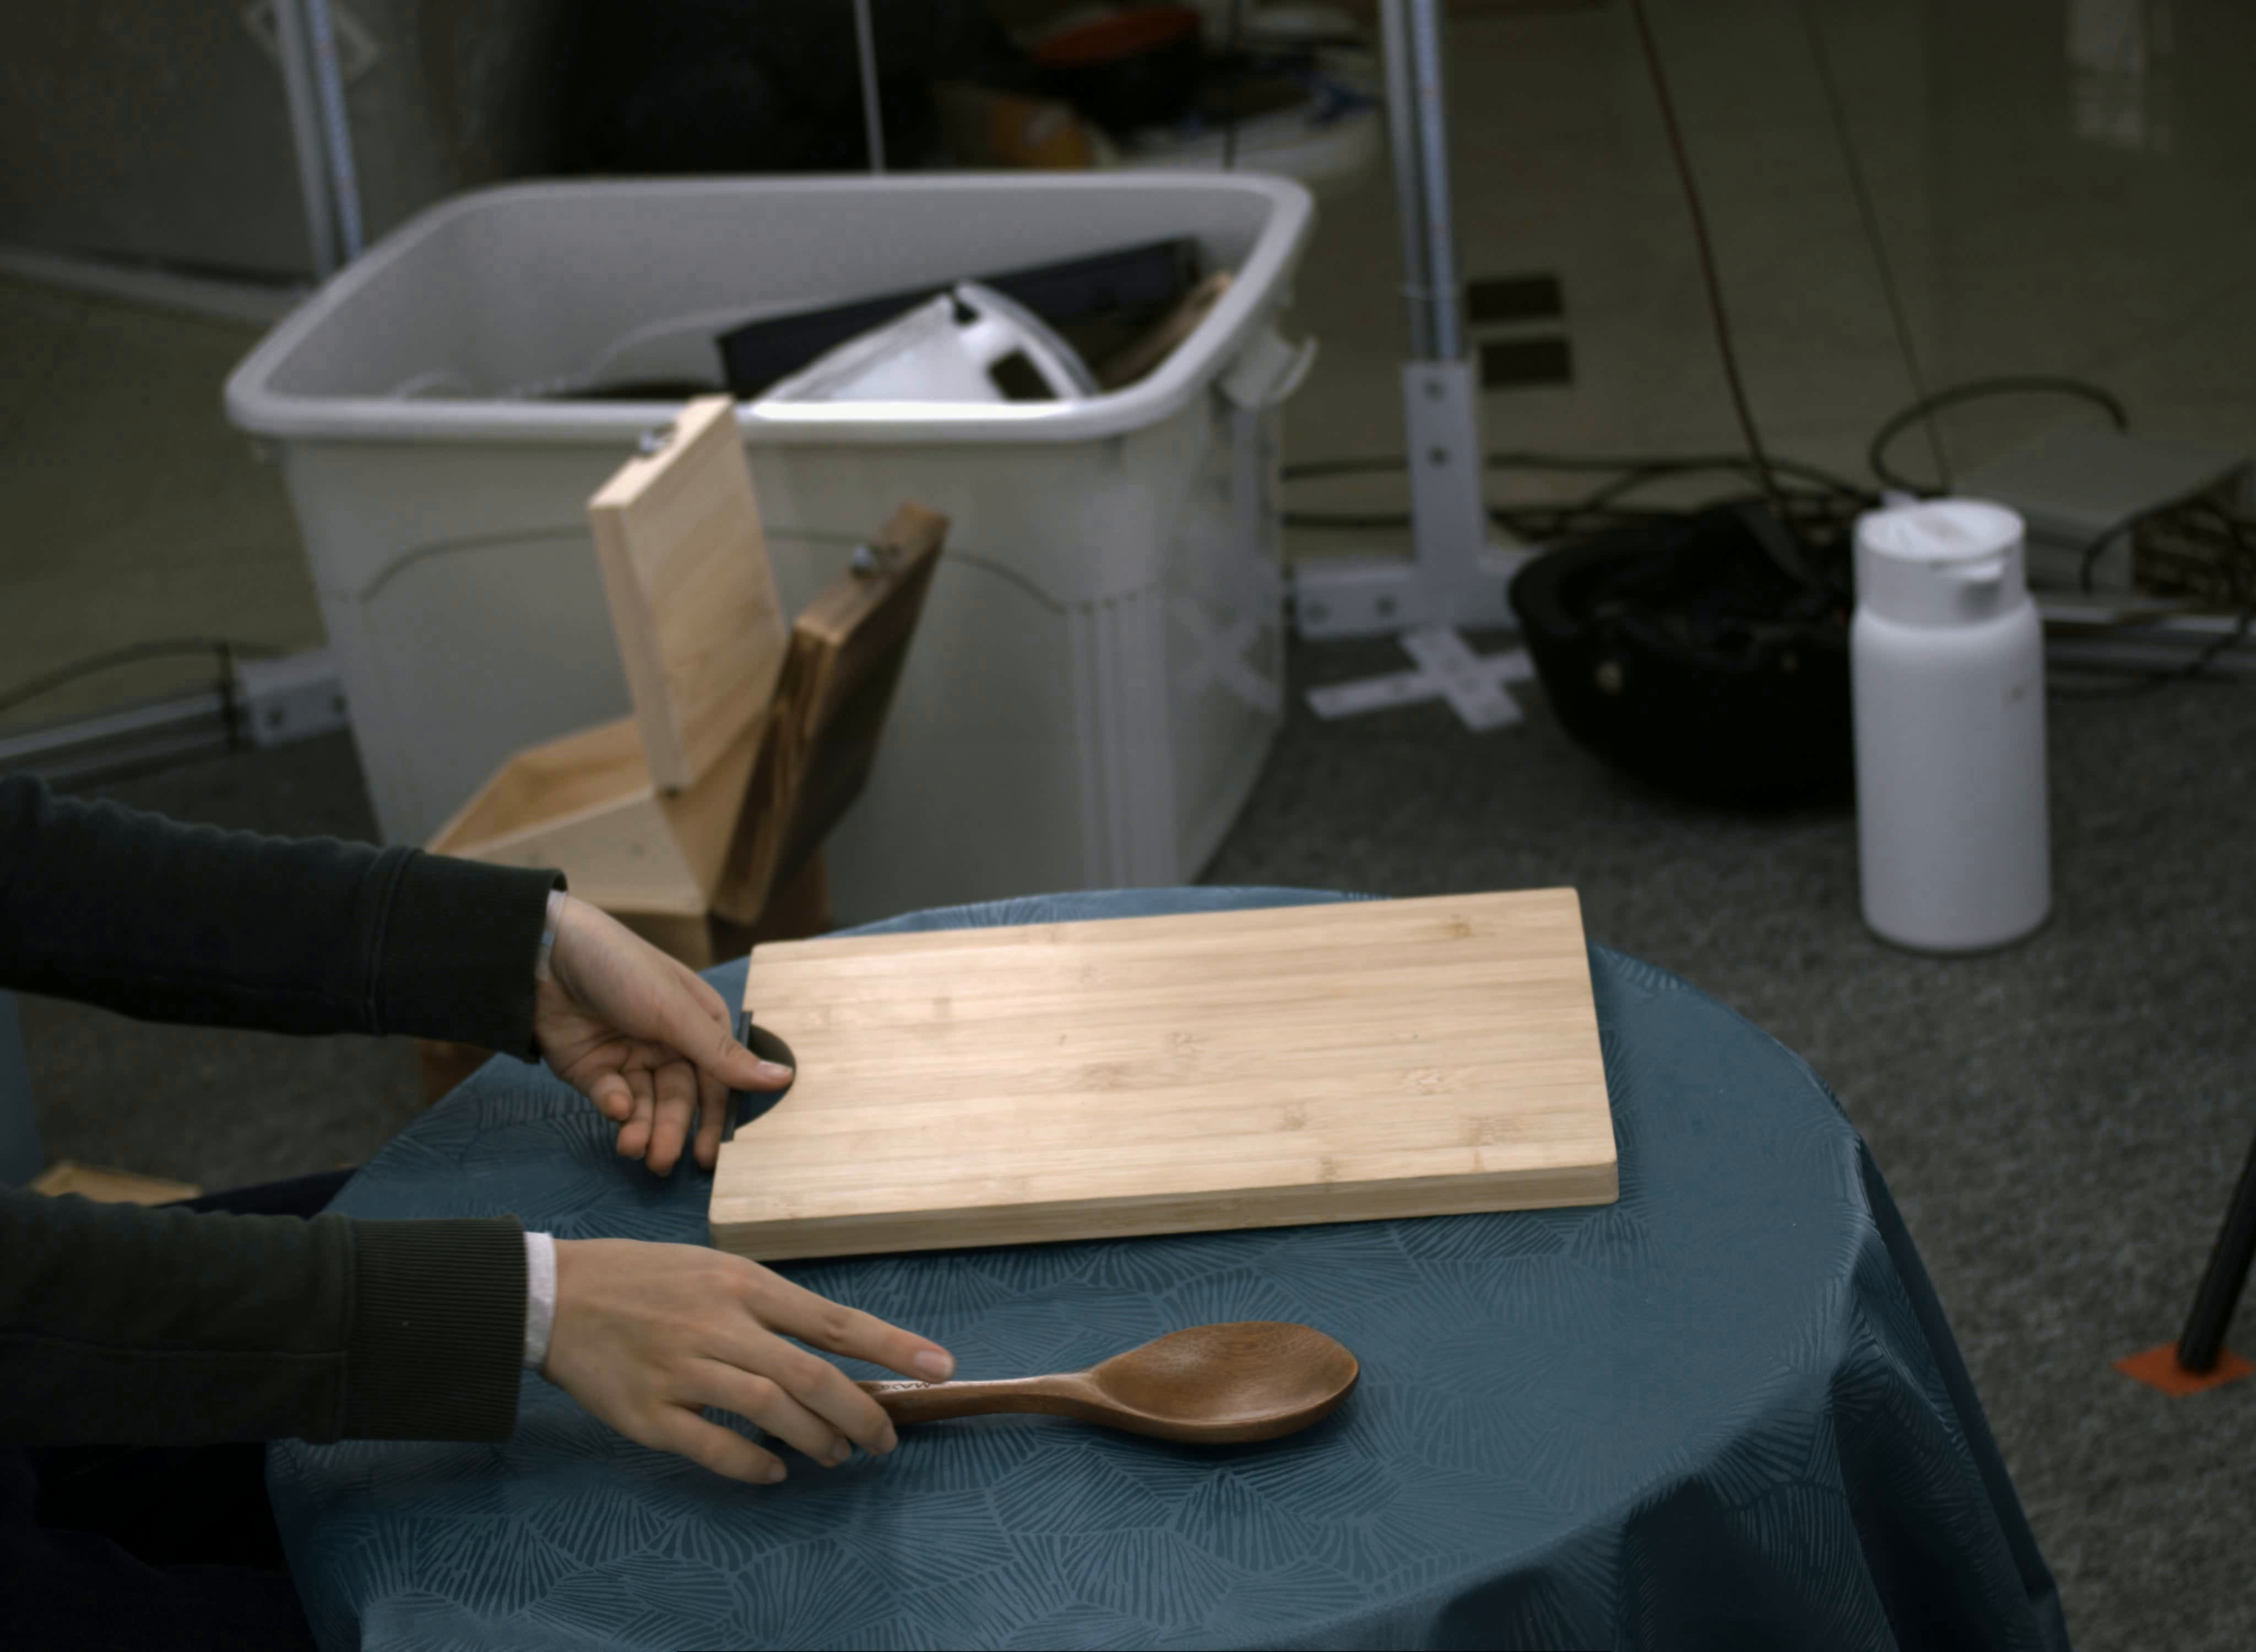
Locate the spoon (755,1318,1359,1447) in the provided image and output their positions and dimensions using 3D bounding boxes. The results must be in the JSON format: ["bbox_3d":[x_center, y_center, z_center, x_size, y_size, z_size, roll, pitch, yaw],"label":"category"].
[{"bbox_3d":[-0.025,0.201,2.005,0.215,0.017,0.074,-3,27,7],"label":"spoon"}]

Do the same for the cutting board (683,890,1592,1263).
[{"bbox_3d":[0.007,0.096,2.217,0.348,0.024,0.247,-4,24,2],"label":"cutting board"}]
